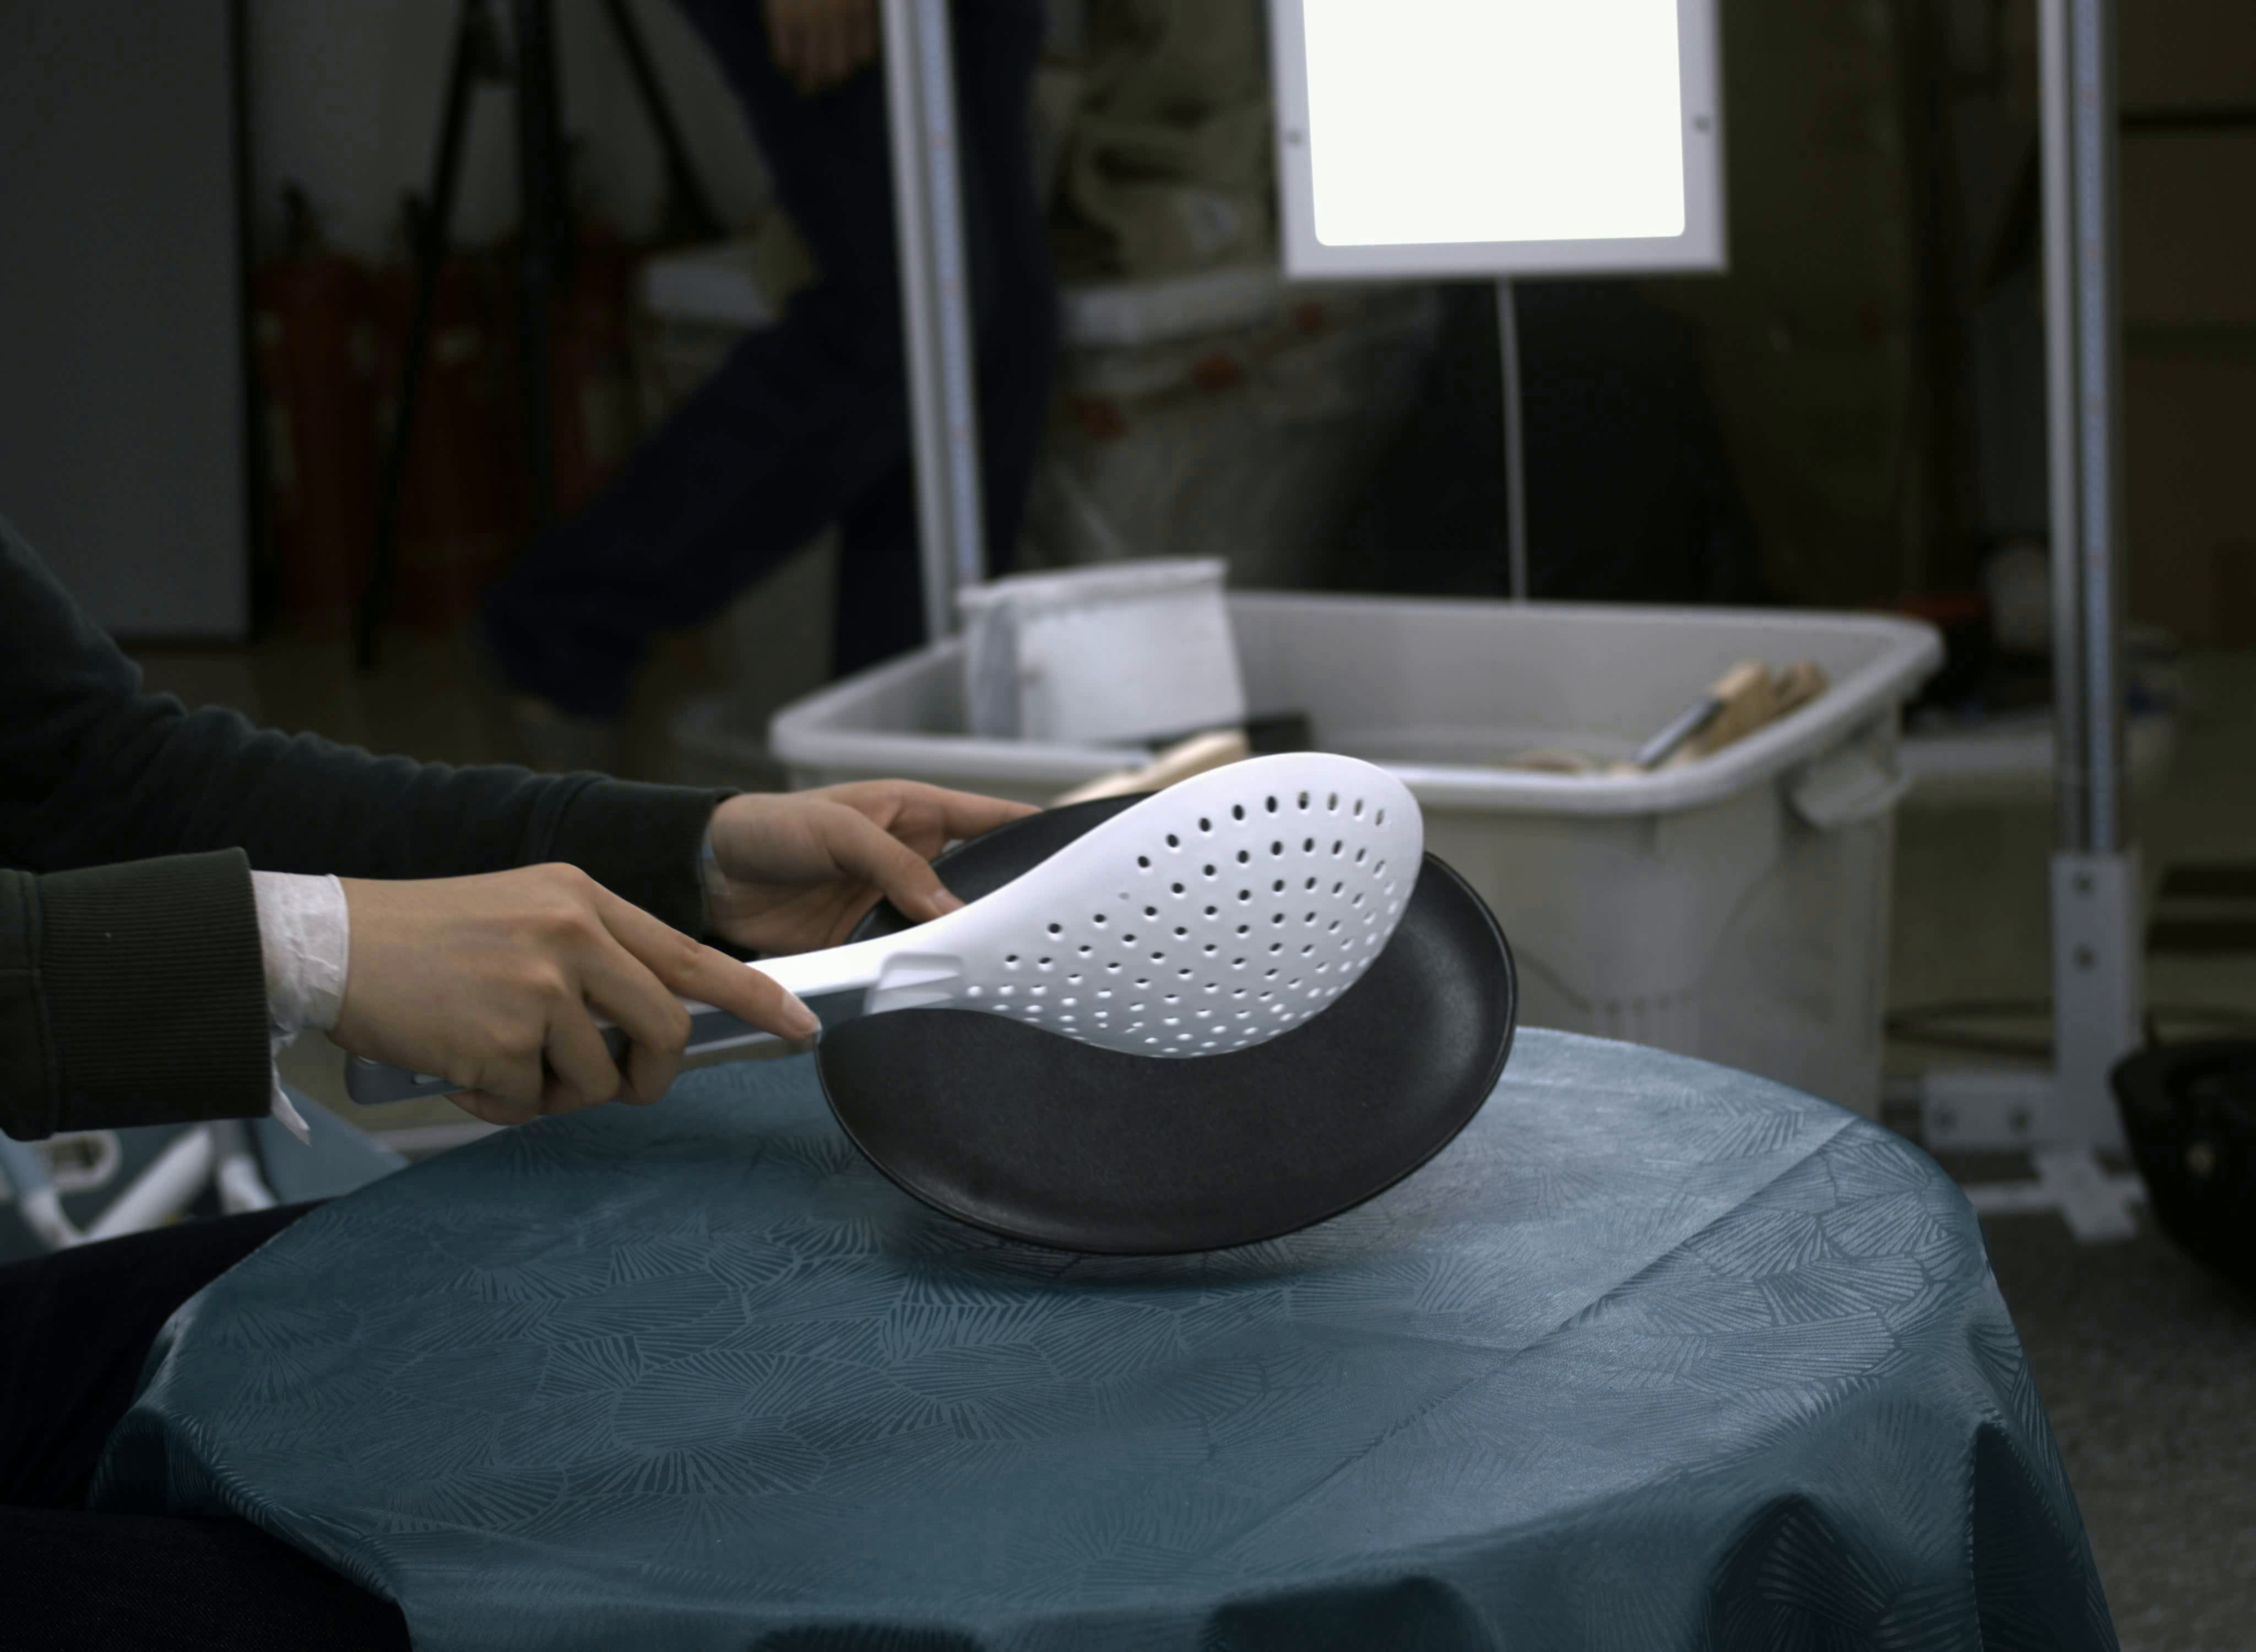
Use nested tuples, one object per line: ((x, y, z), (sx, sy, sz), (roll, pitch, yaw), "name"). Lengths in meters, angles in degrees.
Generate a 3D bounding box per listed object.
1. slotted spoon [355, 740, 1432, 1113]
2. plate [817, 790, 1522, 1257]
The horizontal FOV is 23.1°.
((-0.064, 0.044, 1.677), (0.344, 0.137, 0.046), (-6, 49, -15), "slotted spoon")
((0.014, 0.070, 1.891), (0.244, 0.023, 0.244), (-6, 38, 3), "plate")
